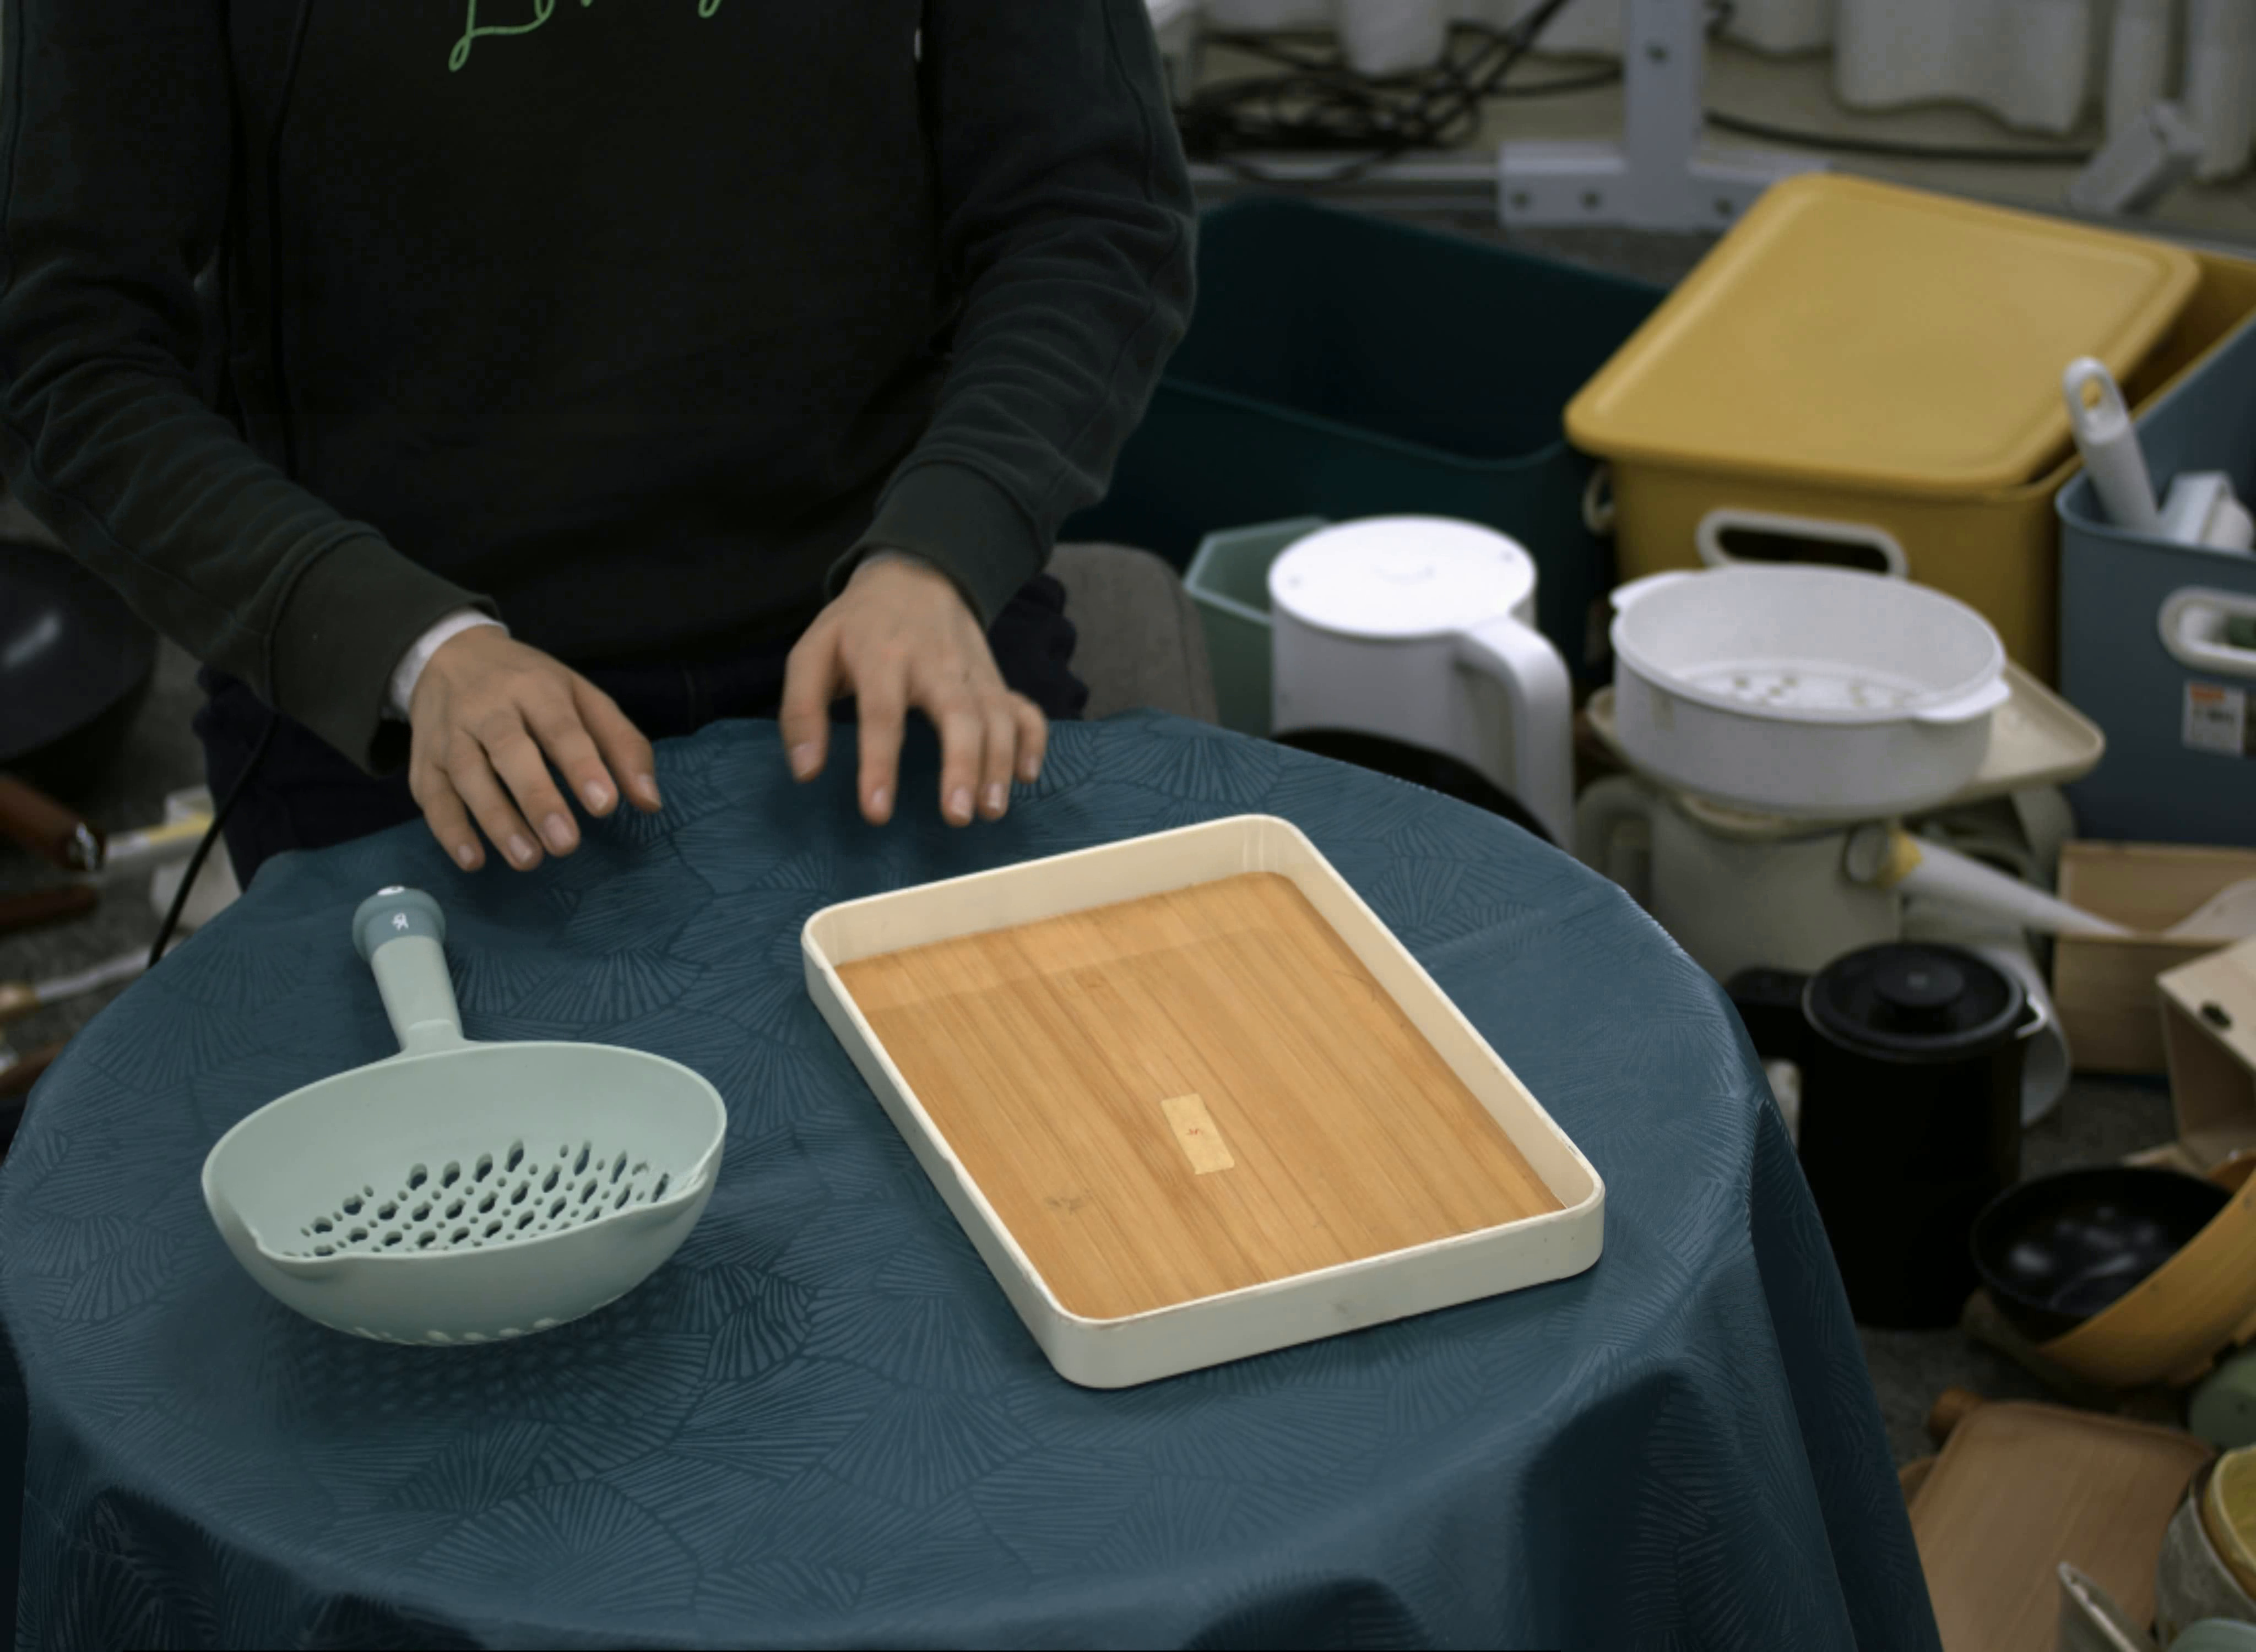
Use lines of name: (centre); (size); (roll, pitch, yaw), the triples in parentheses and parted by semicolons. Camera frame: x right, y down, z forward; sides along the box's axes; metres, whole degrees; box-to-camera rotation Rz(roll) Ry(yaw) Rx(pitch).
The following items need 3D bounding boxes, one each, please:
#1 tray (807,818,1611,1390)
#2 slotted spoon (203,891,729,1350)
tray: (0.021, 0.088, 1.897); (0.192, 0.027, 0.303); (-12, 29, -16)
slotted spoon: (-0.231, 0.083, 1.889); (0.169, 0.074, 0.363); (-8, 28, -10)
